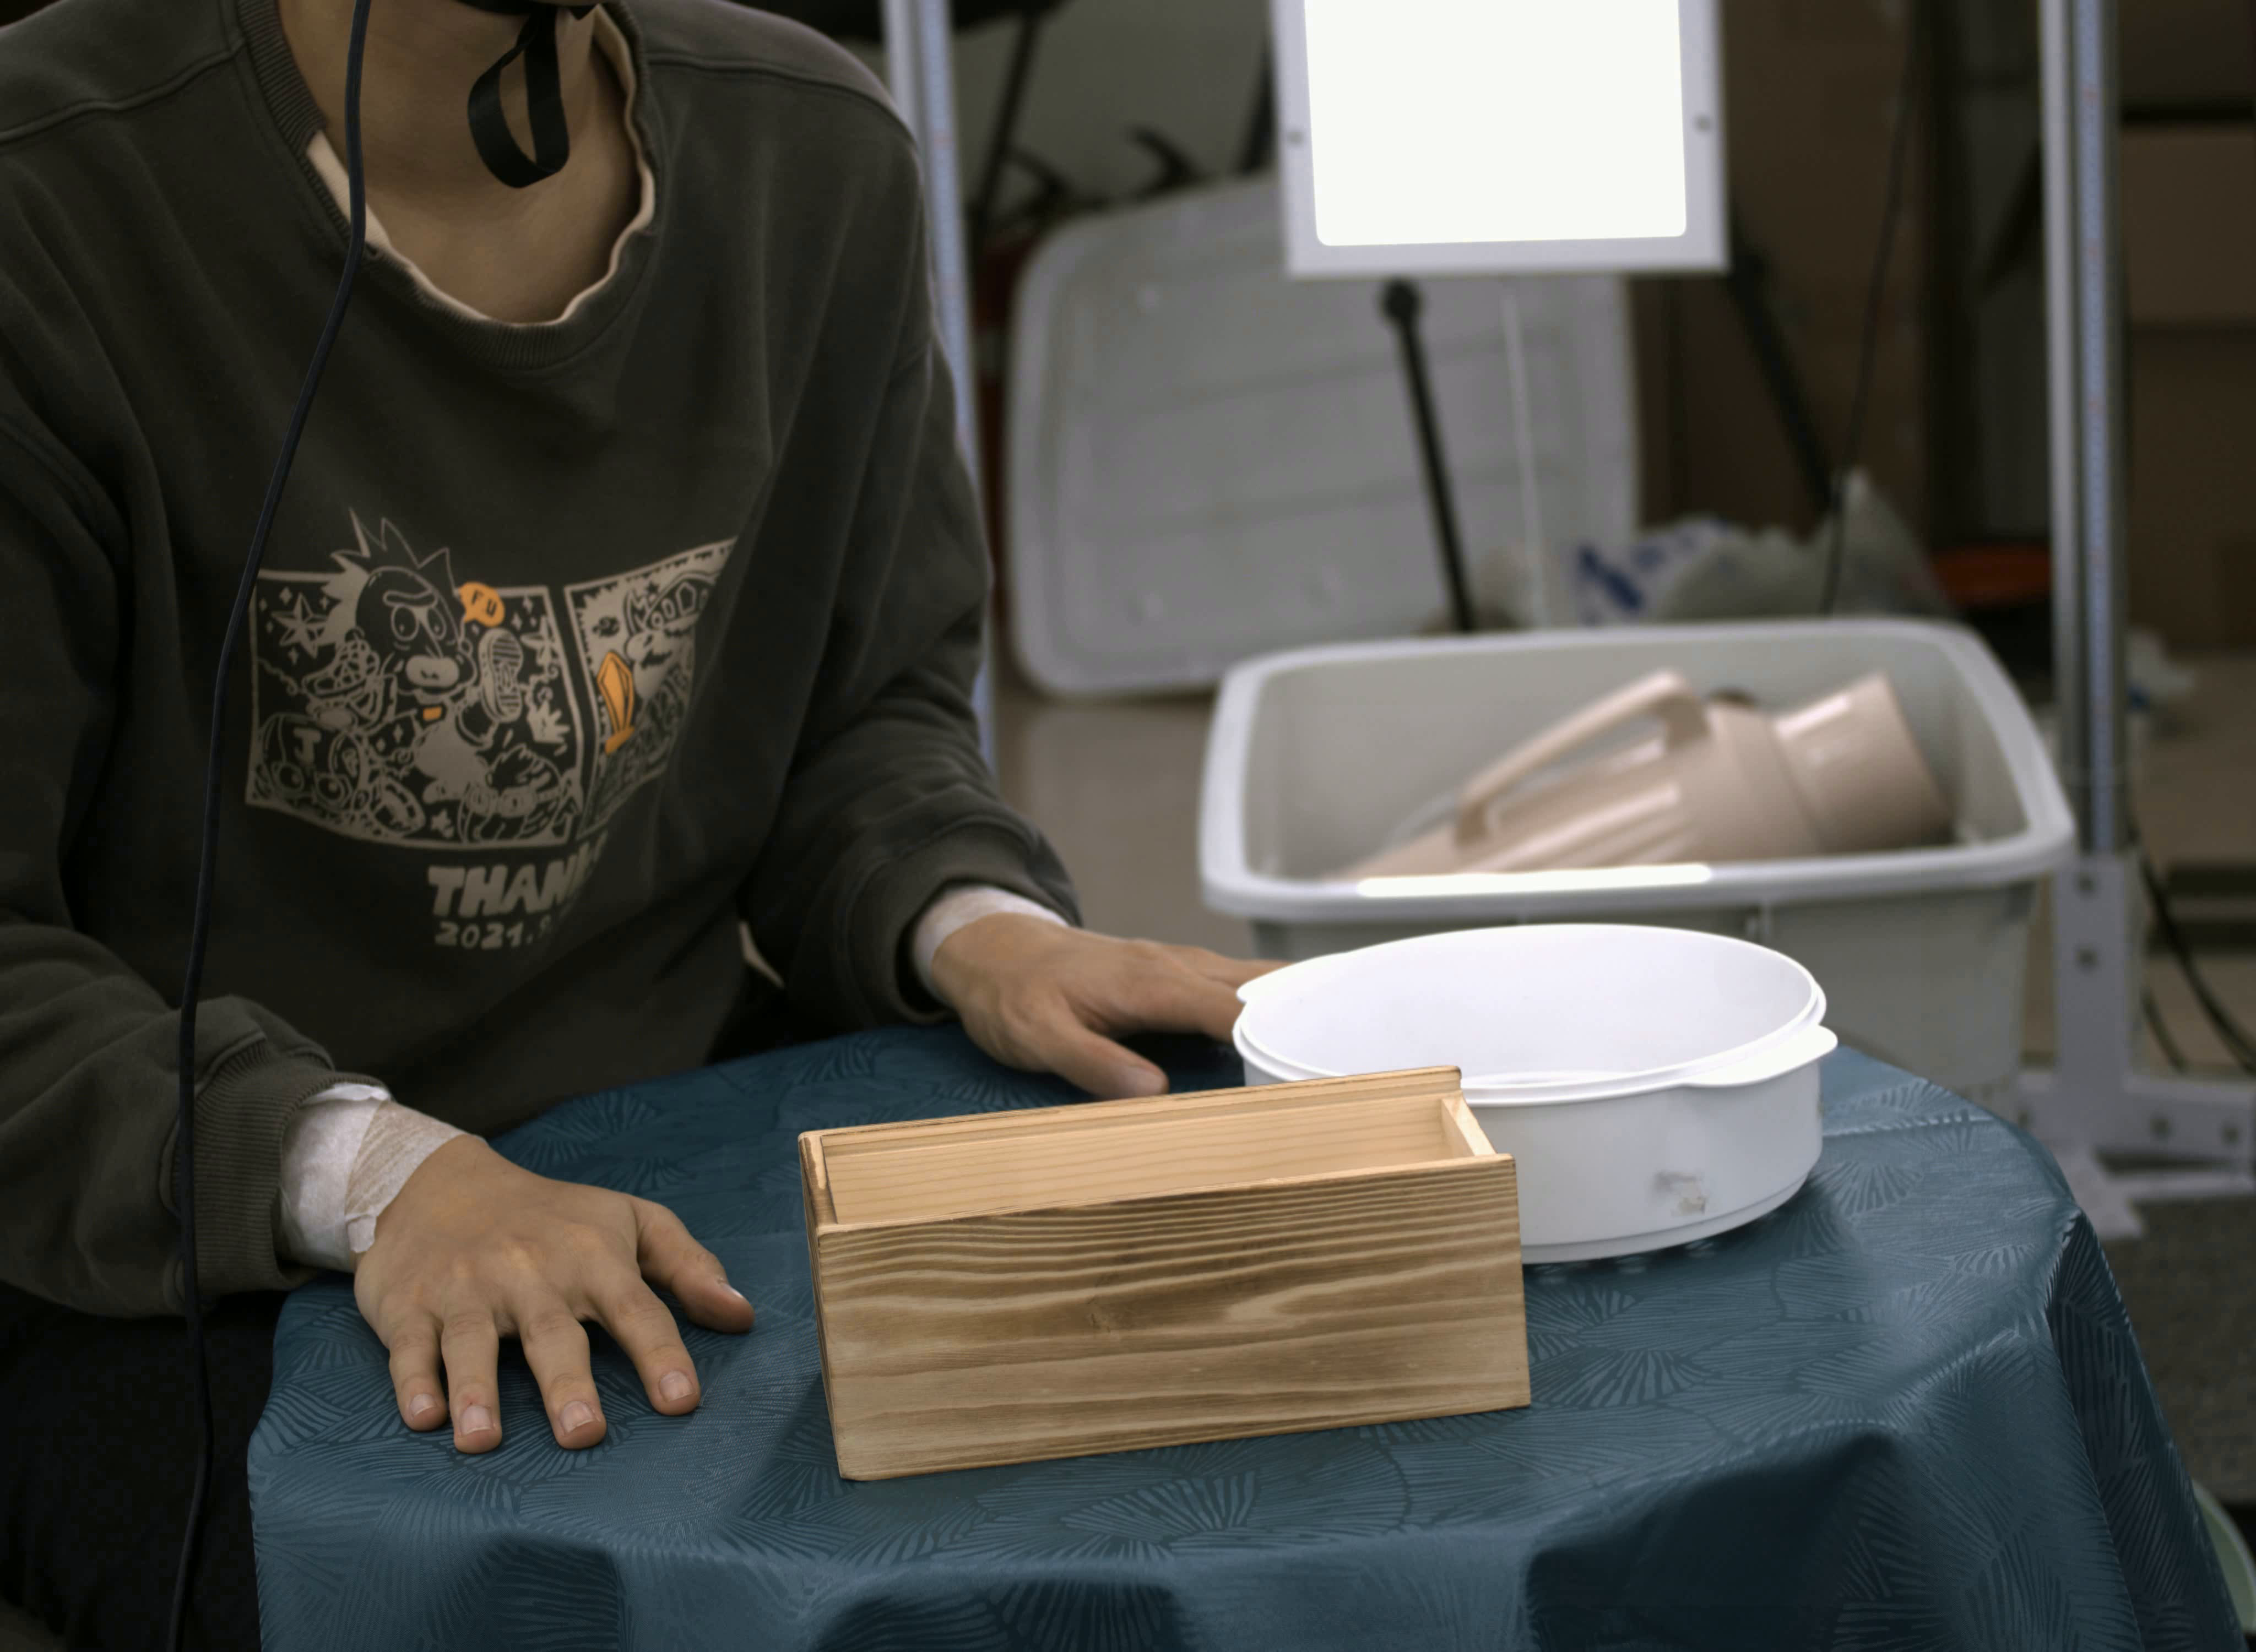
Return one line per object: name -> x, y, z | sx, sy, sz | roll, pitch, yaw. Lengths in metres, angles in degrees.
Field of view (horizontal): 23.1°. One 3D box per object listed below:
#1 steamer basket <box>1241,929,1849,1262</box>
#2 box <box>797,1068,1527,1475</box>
steamer basket -> 0.140, 0.090, 1.849 | 0.197, 0.069, 0.235 | -17, 18, -42
box -> 0.009, 0.135, 1.691 | 0.210, 0.080, 0.107 | -6, 13, -3
